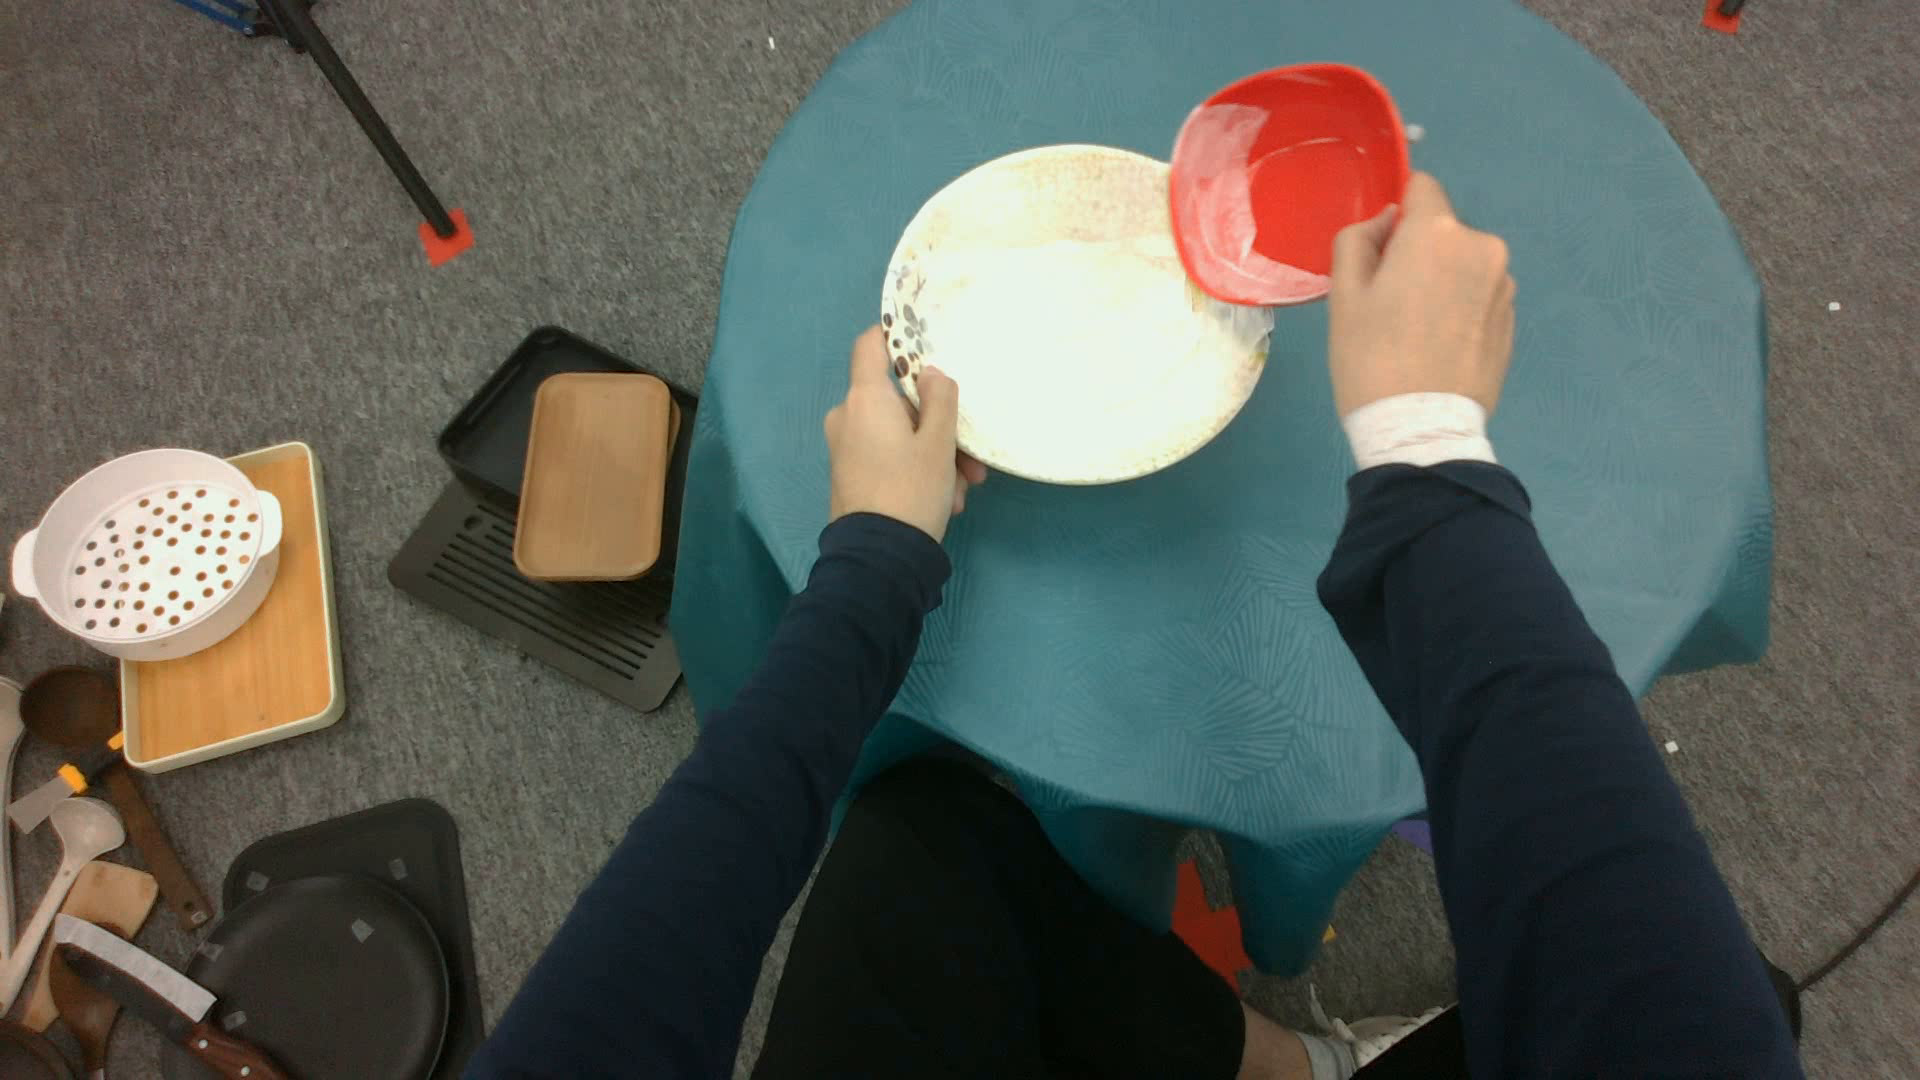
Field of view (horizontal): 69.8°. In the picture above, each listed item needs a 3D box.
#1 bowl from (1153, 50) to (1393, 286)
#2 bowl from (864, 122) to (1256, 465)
[{"bbox_3d":[0.152,-0.170,0.657,0.118,0.051,0.119,-3,82,23],"label":"bowl"},{"bbox_3d":[0.053,-0.121,0.750,0.204,0.078,0.204,-1,70,3],"label":"bowl"}]
